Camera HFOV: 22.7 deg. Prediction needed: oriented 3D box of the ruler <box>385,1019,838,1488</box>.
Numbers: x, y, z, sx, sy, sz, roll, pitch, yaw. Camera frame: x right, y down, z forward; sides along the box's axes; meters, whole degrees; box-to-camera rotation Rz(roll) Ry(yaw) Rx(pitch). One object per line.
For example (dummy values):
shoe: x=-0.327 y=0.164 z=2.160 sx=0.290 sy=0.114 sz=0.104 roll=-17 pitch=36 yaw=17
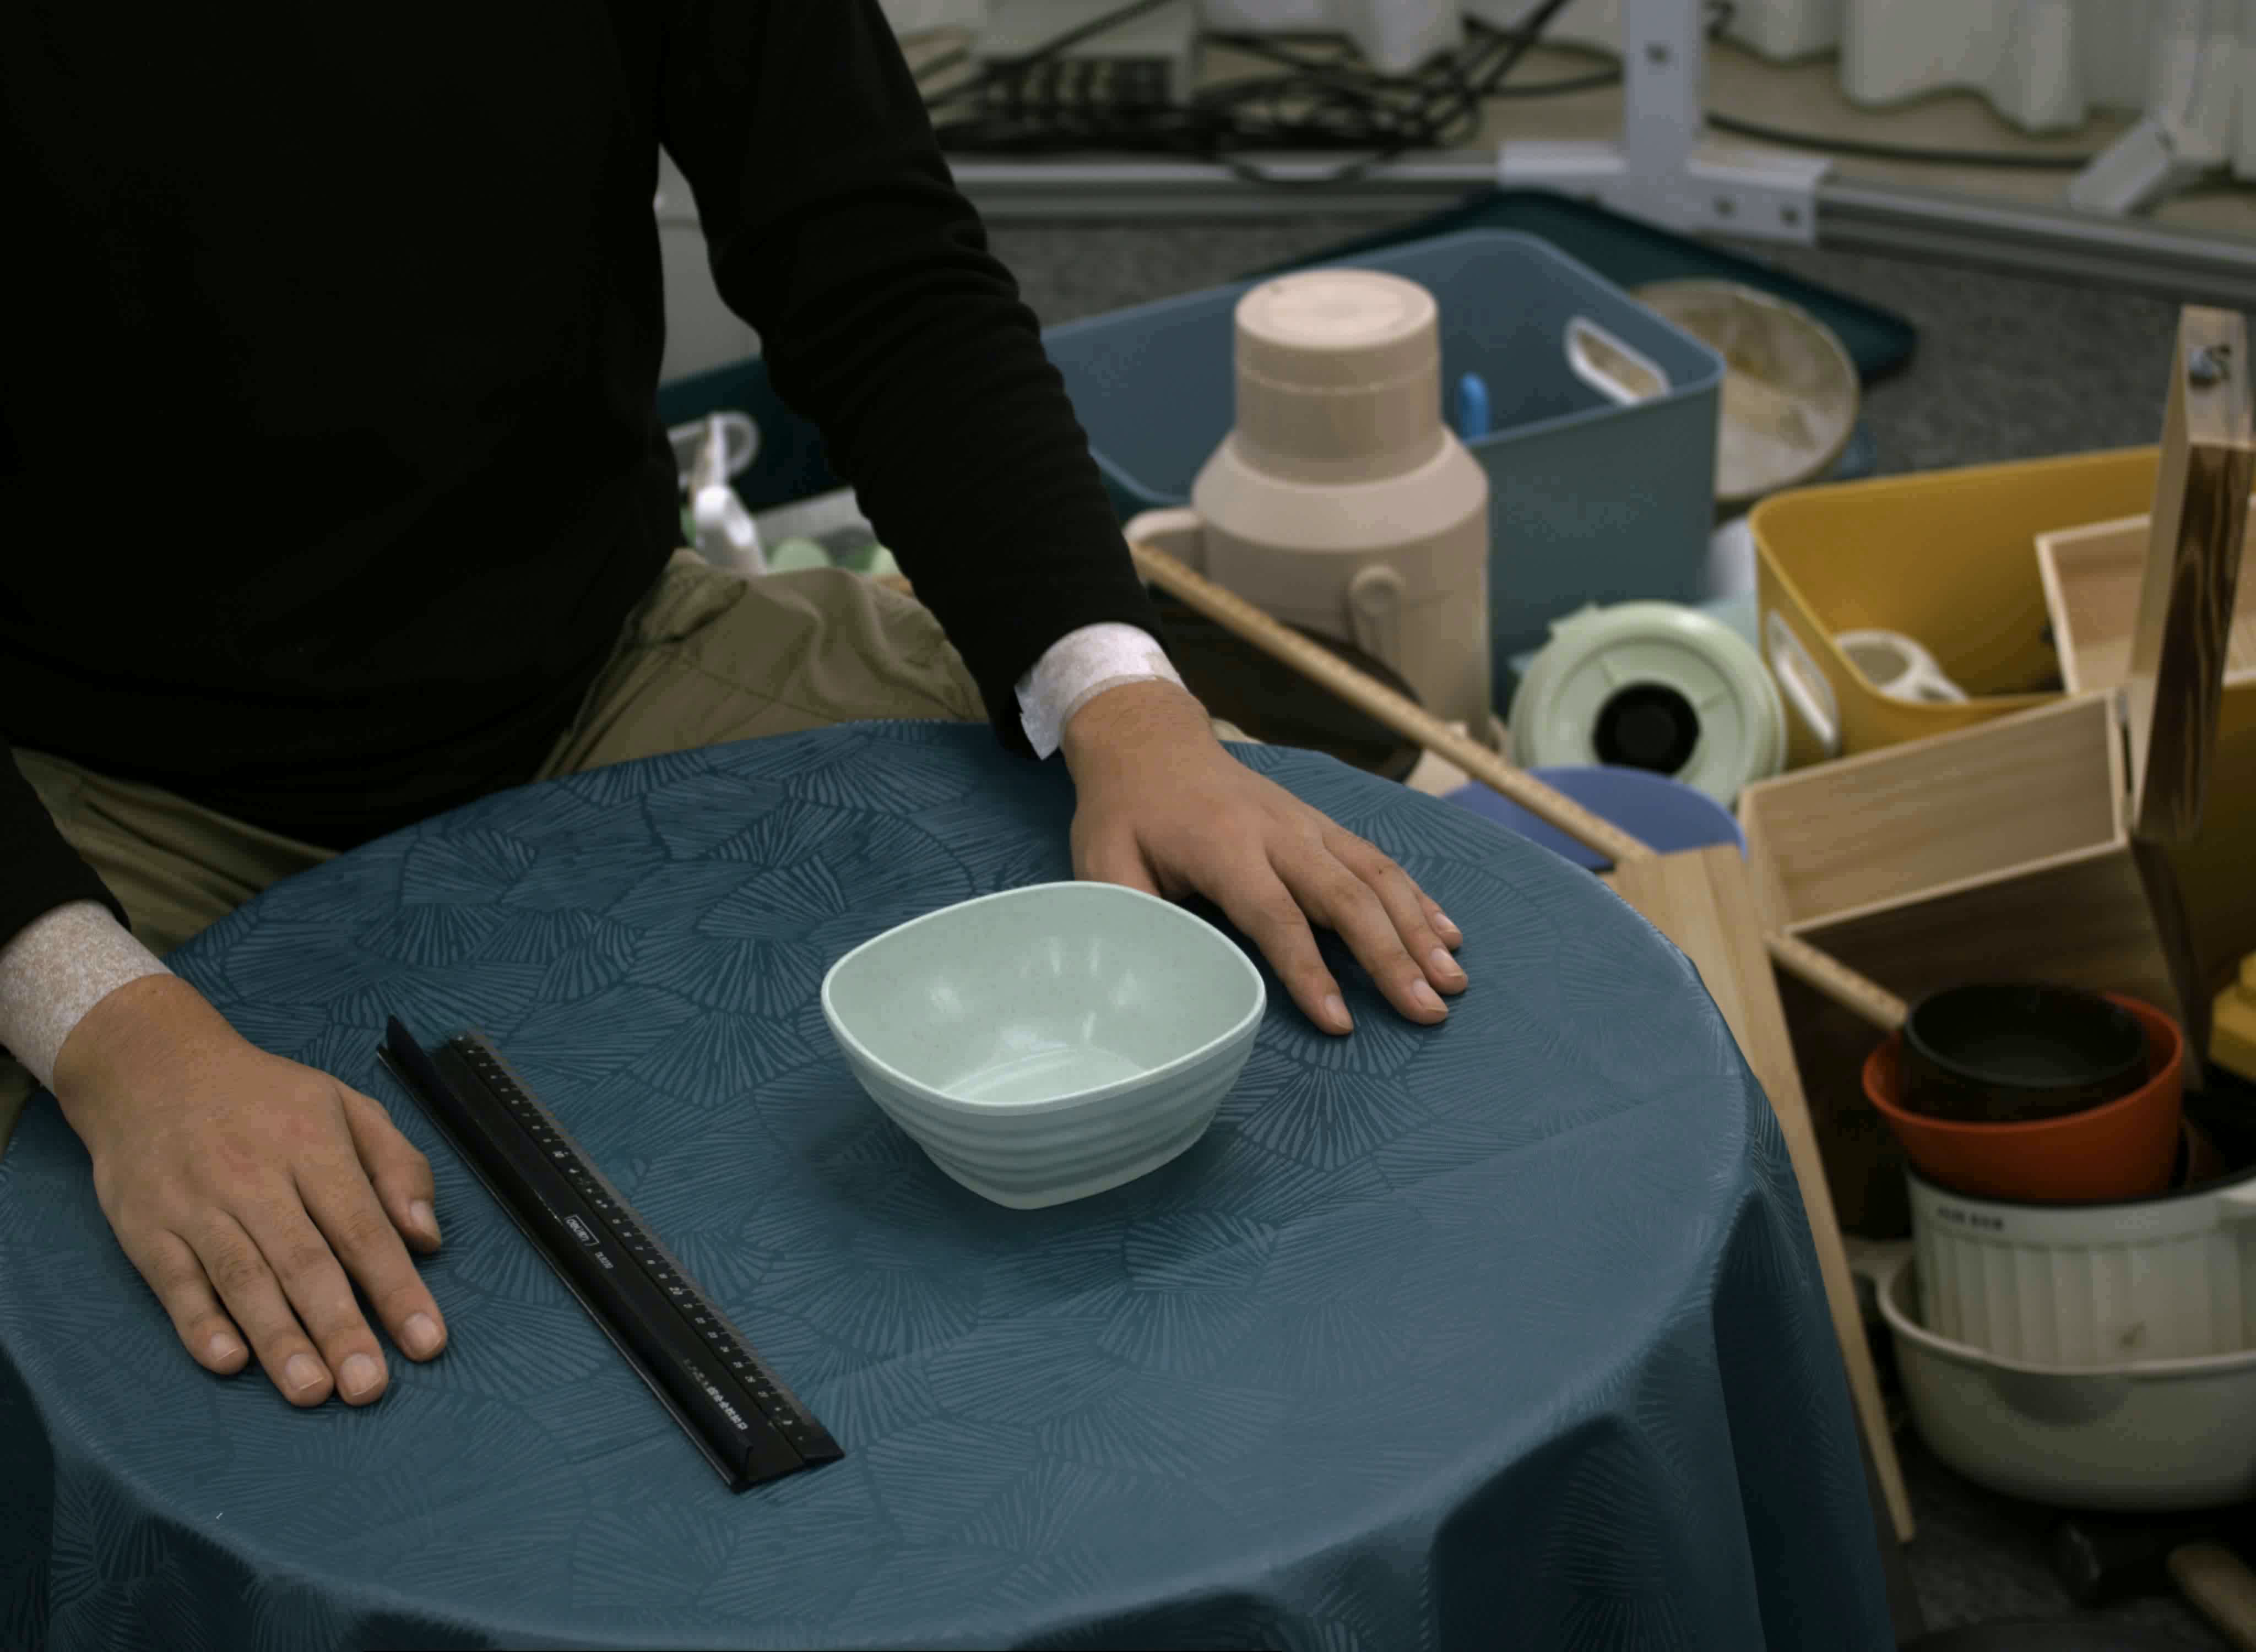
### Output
ruler: x=-0.174 y=0.132 z=1.842 sx=0.039 sy=0.017 sz=0.314 roll=-12 pitch=28 yaw=-24

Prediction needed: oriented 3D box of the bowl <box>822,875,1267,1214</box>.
bowl: x=-0.027 y=0.079 z=1.885 sx=0.151 sy=0.058 sz=0.154 roll=-2 pitch=29 yaw=1
